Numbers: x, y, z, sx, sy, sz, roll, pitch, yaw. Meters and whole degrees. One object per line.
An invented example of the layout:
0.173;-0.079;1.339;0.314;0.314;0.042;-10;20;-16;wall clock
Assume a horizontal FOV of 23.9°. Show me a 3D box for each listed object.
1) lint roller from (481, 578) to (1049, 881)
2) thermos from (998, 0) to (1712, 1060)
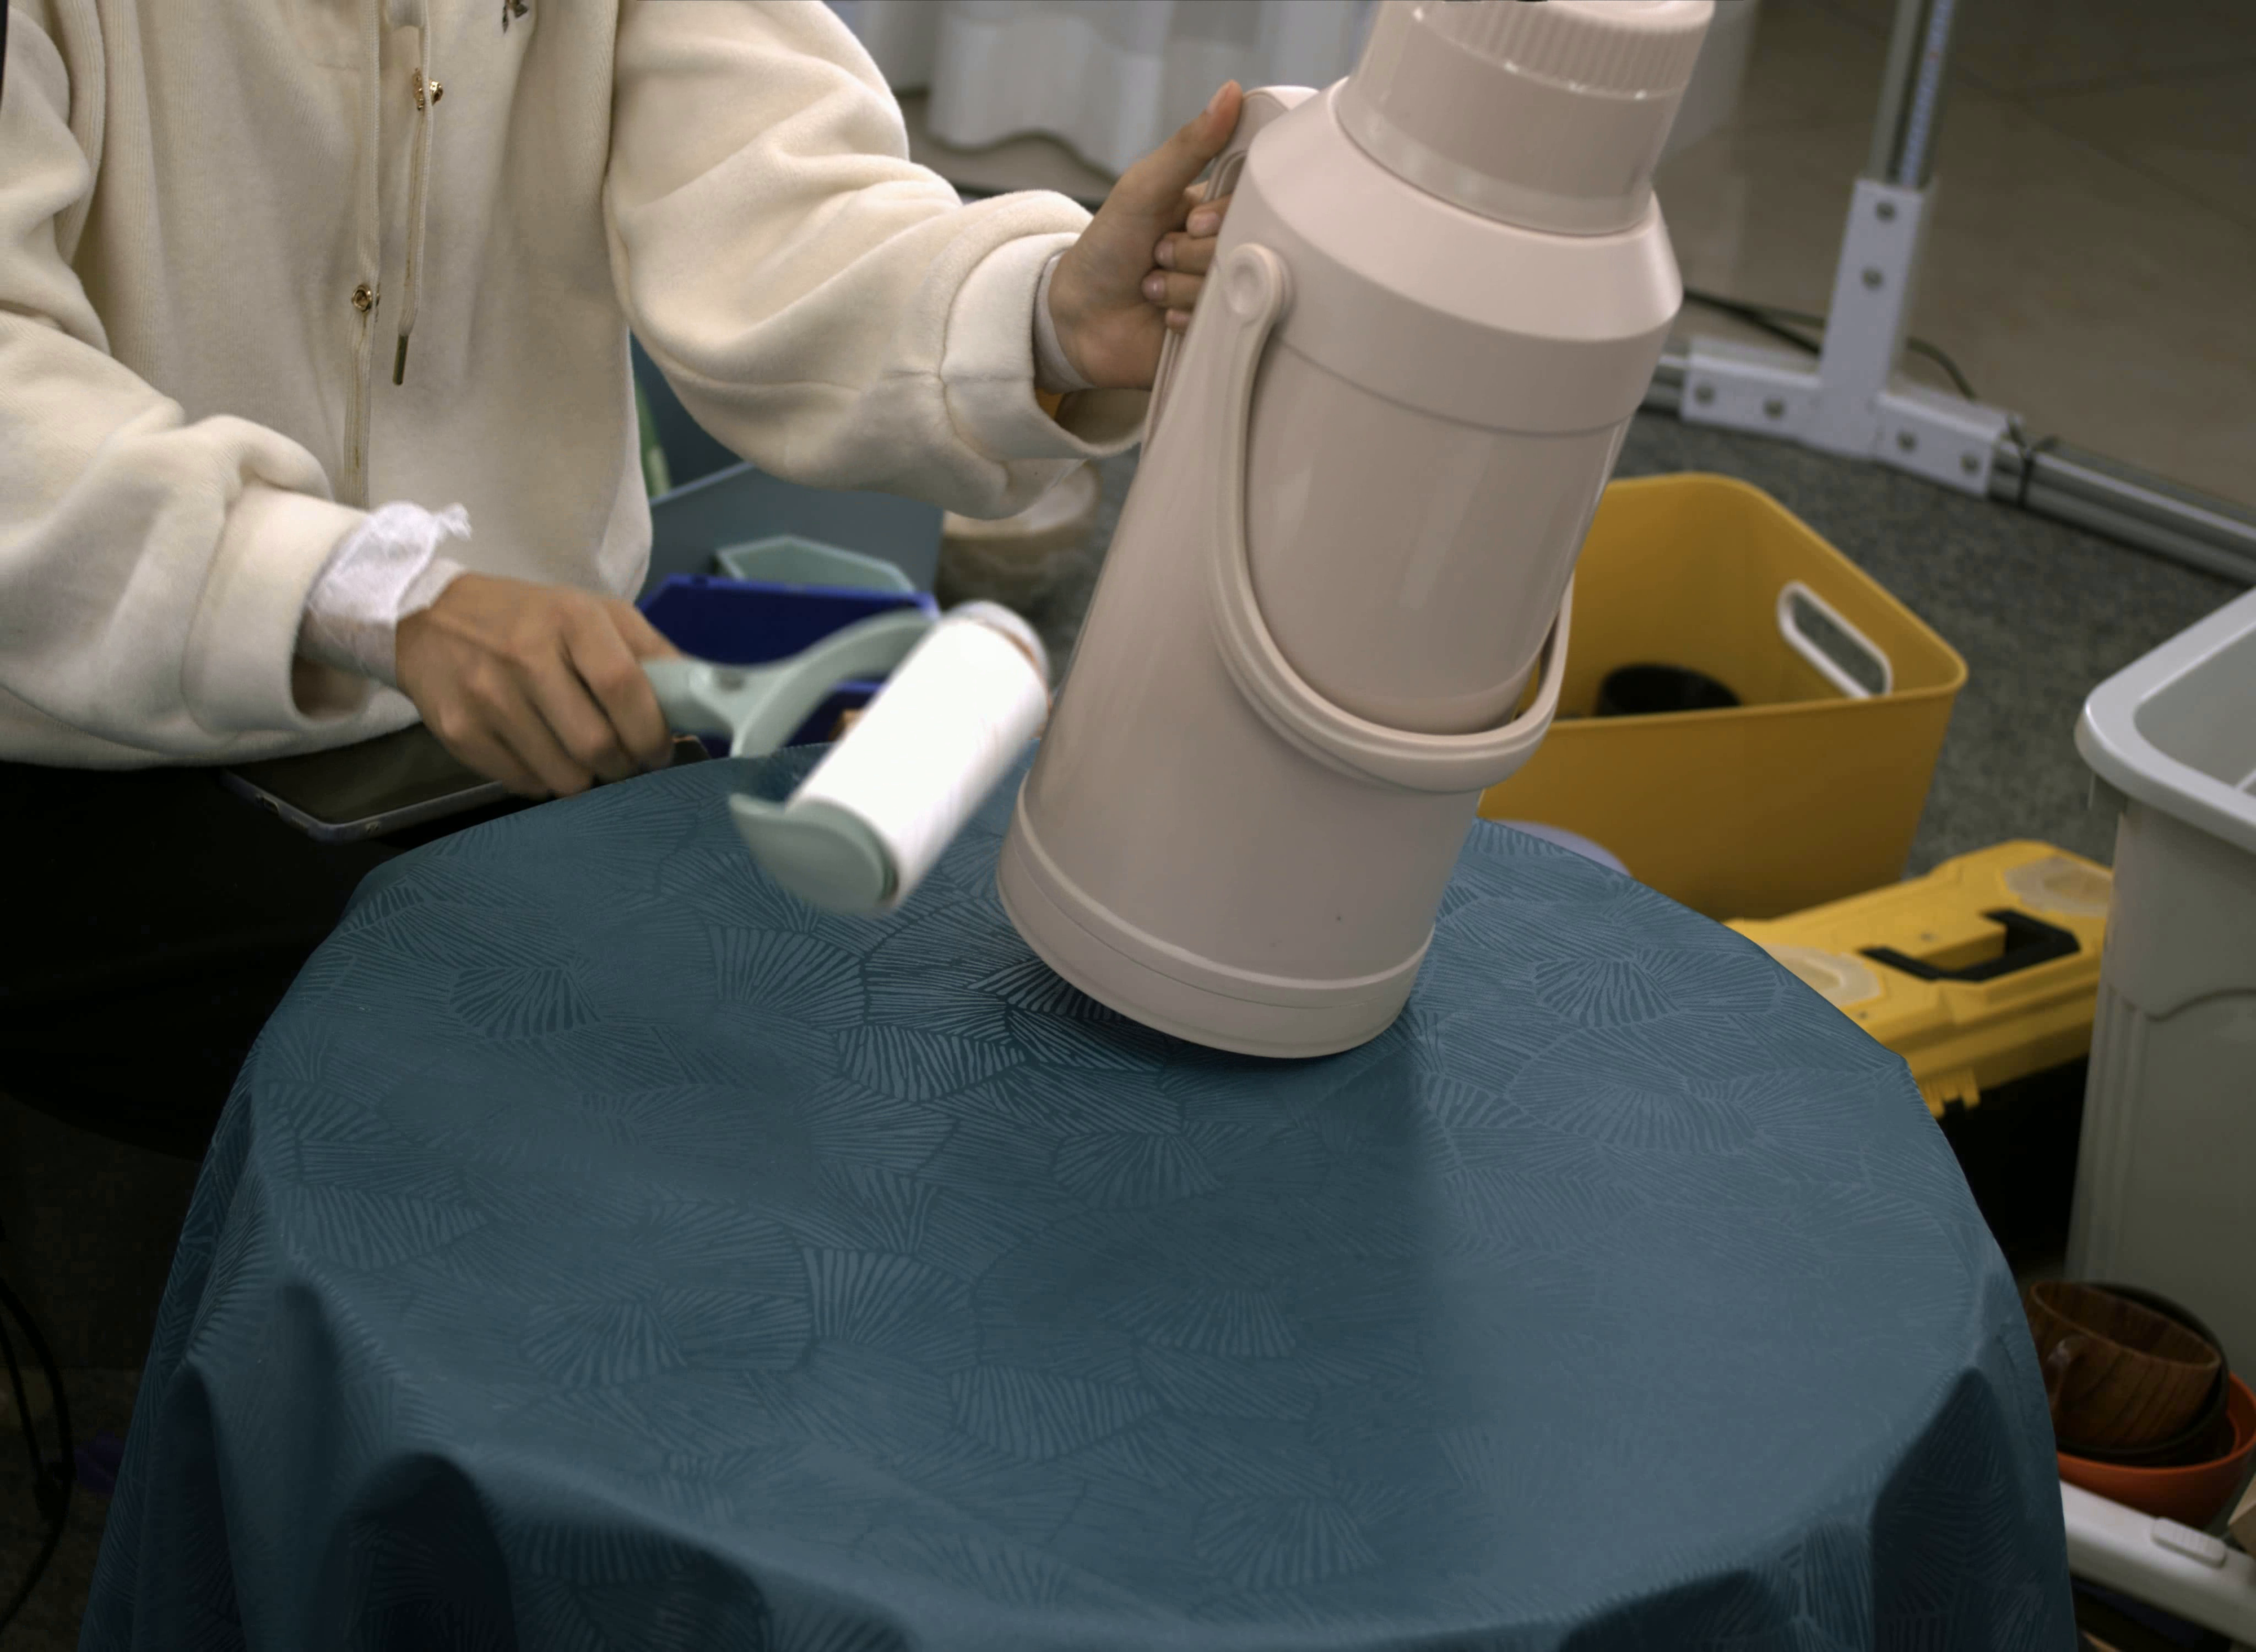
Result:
-0.132;-0.042;1.766;0.198;0.048;0.117;10;44;27;lint roller
0.079;-0.132;1.857;0.174;0.405;0.209;-5;37;-36;thermos
